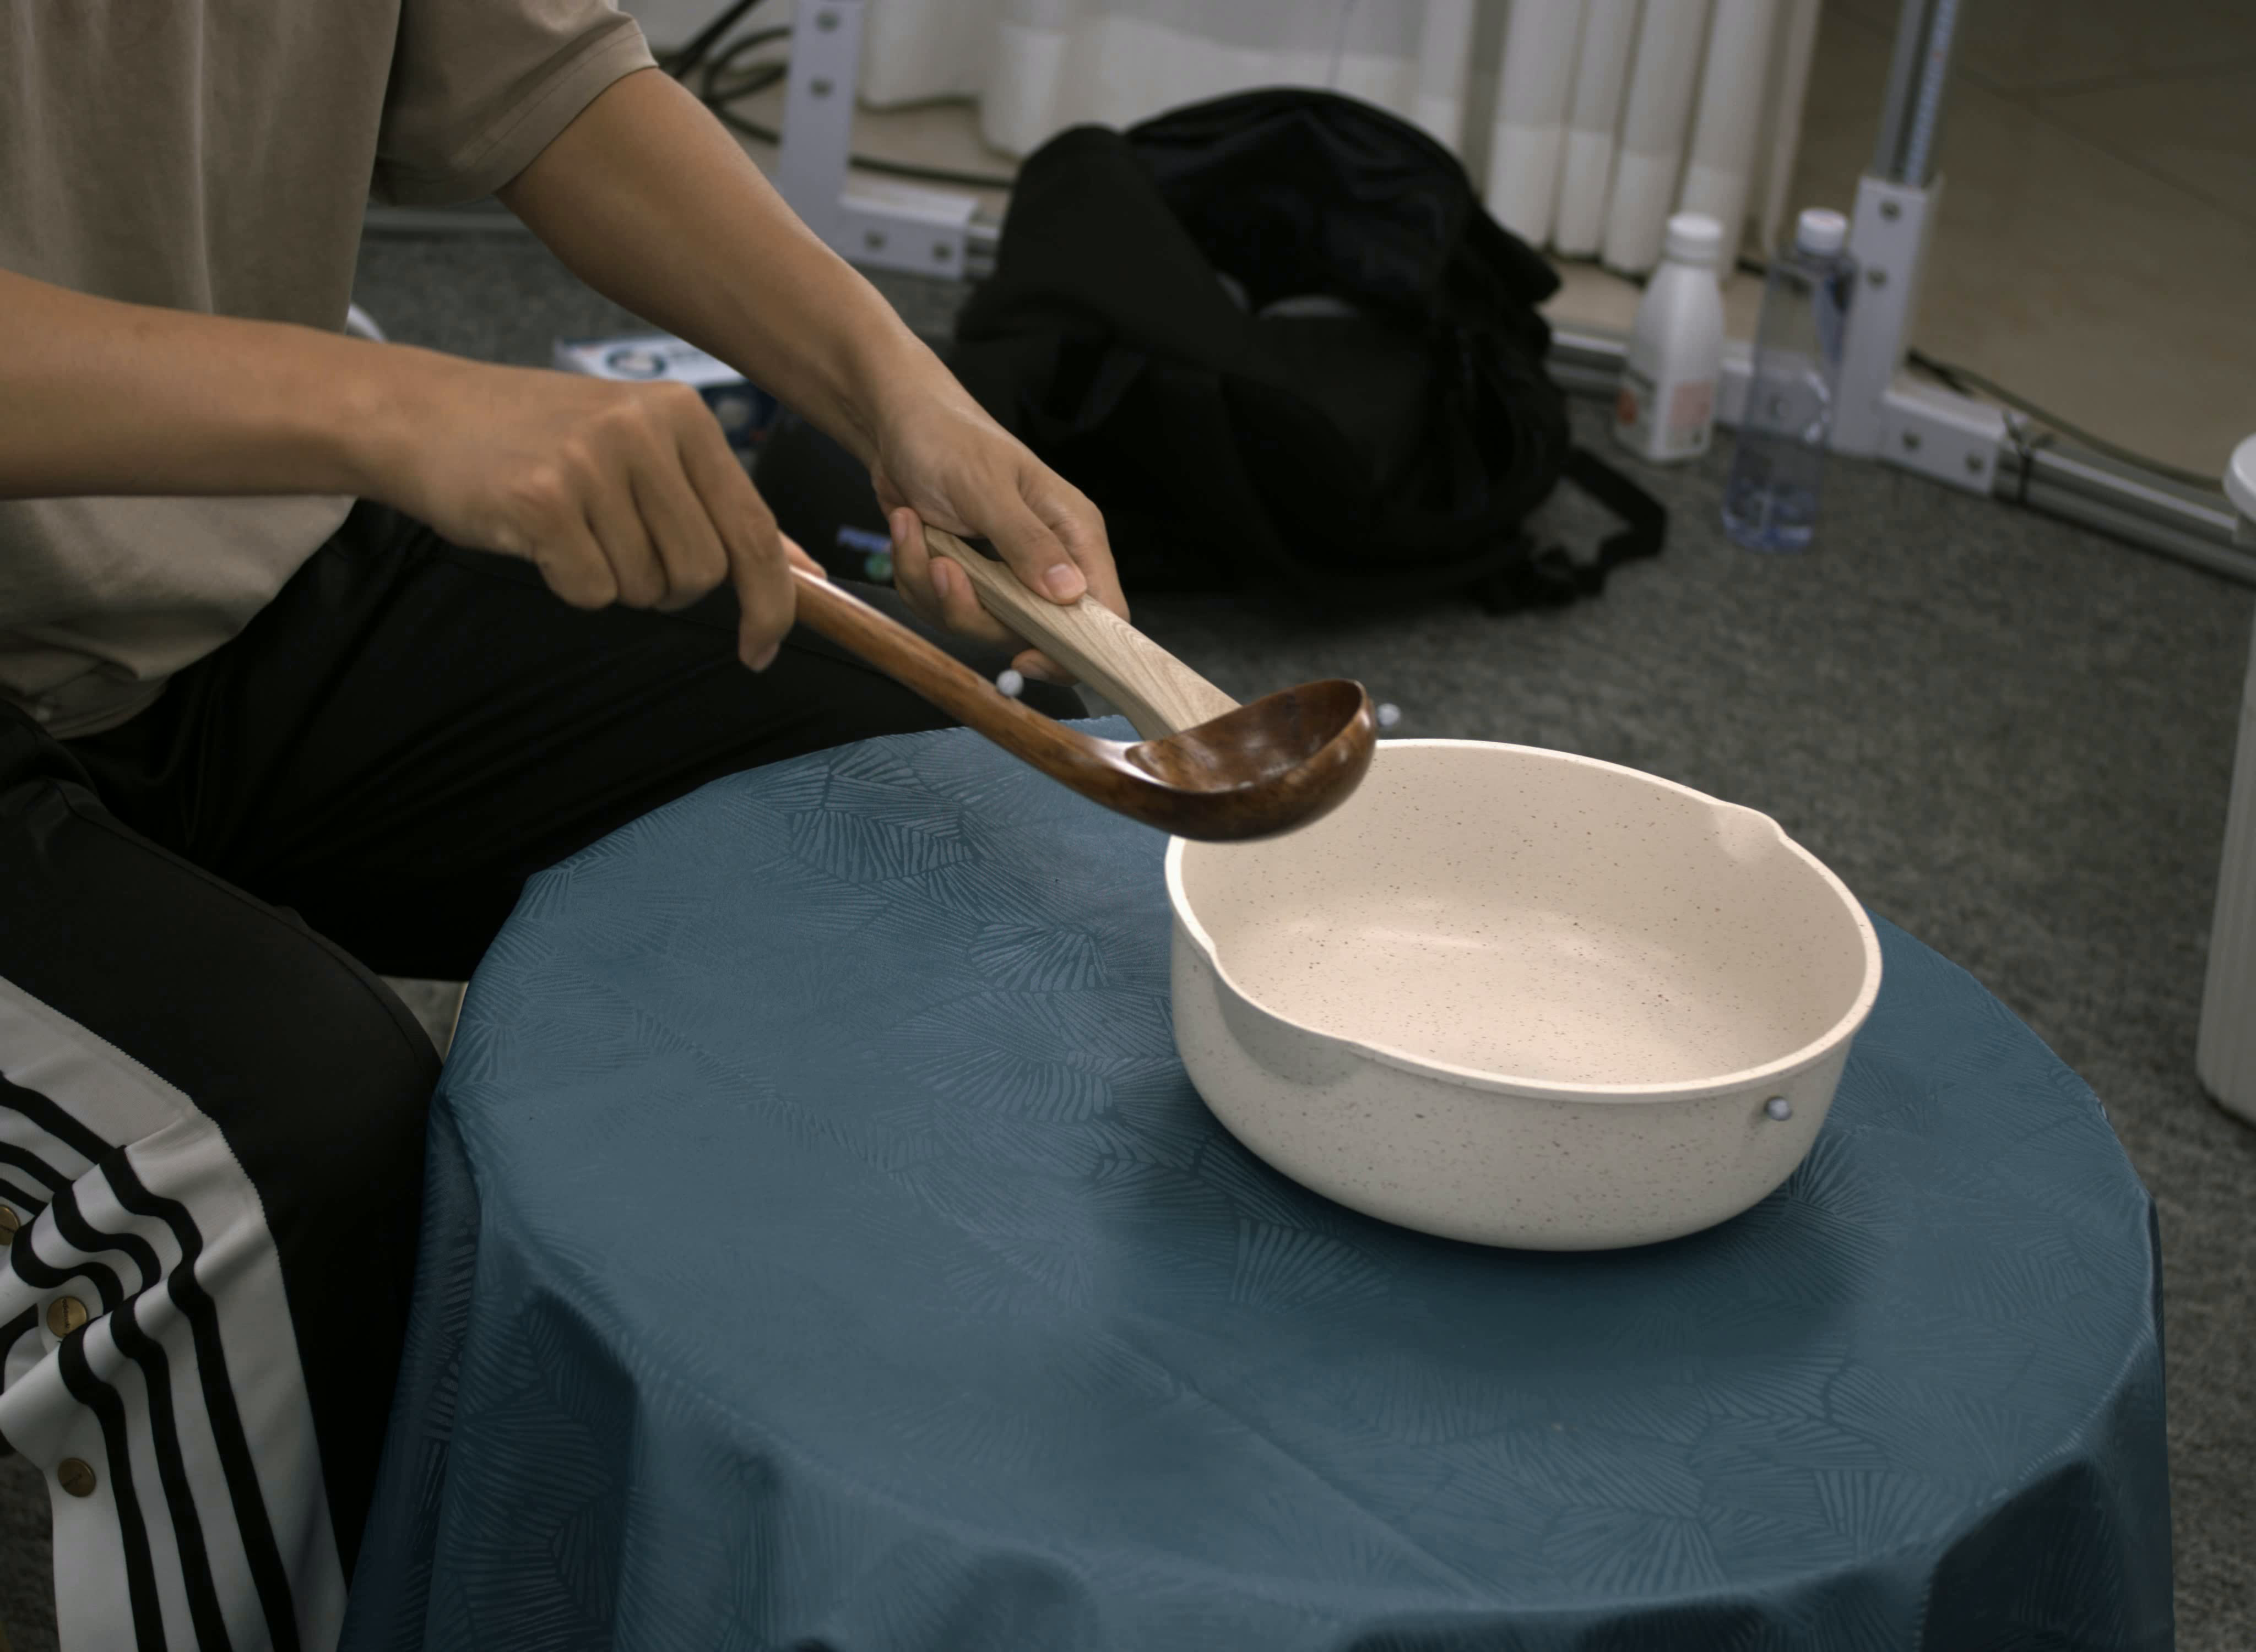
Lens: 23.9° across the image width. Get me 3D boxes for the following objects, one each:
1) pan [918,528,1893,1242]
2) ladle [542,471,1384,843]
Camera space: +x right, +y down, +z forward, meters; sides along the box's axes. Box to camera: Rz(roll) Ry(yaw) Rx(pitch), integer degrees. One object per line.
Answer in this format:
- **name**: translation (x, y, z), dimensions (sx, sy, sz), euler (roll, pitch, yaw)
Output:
- **pan**: translation (0.074, 0.017, 1.922), dimensions (0.262, 0.101, 0.438), euler (-20, 38, -40)
- **ladle**: translation (-0.047, -0.070, 1.678), dimensions (0.273, 0.076, 0.082), euler (28, 7, -12)
